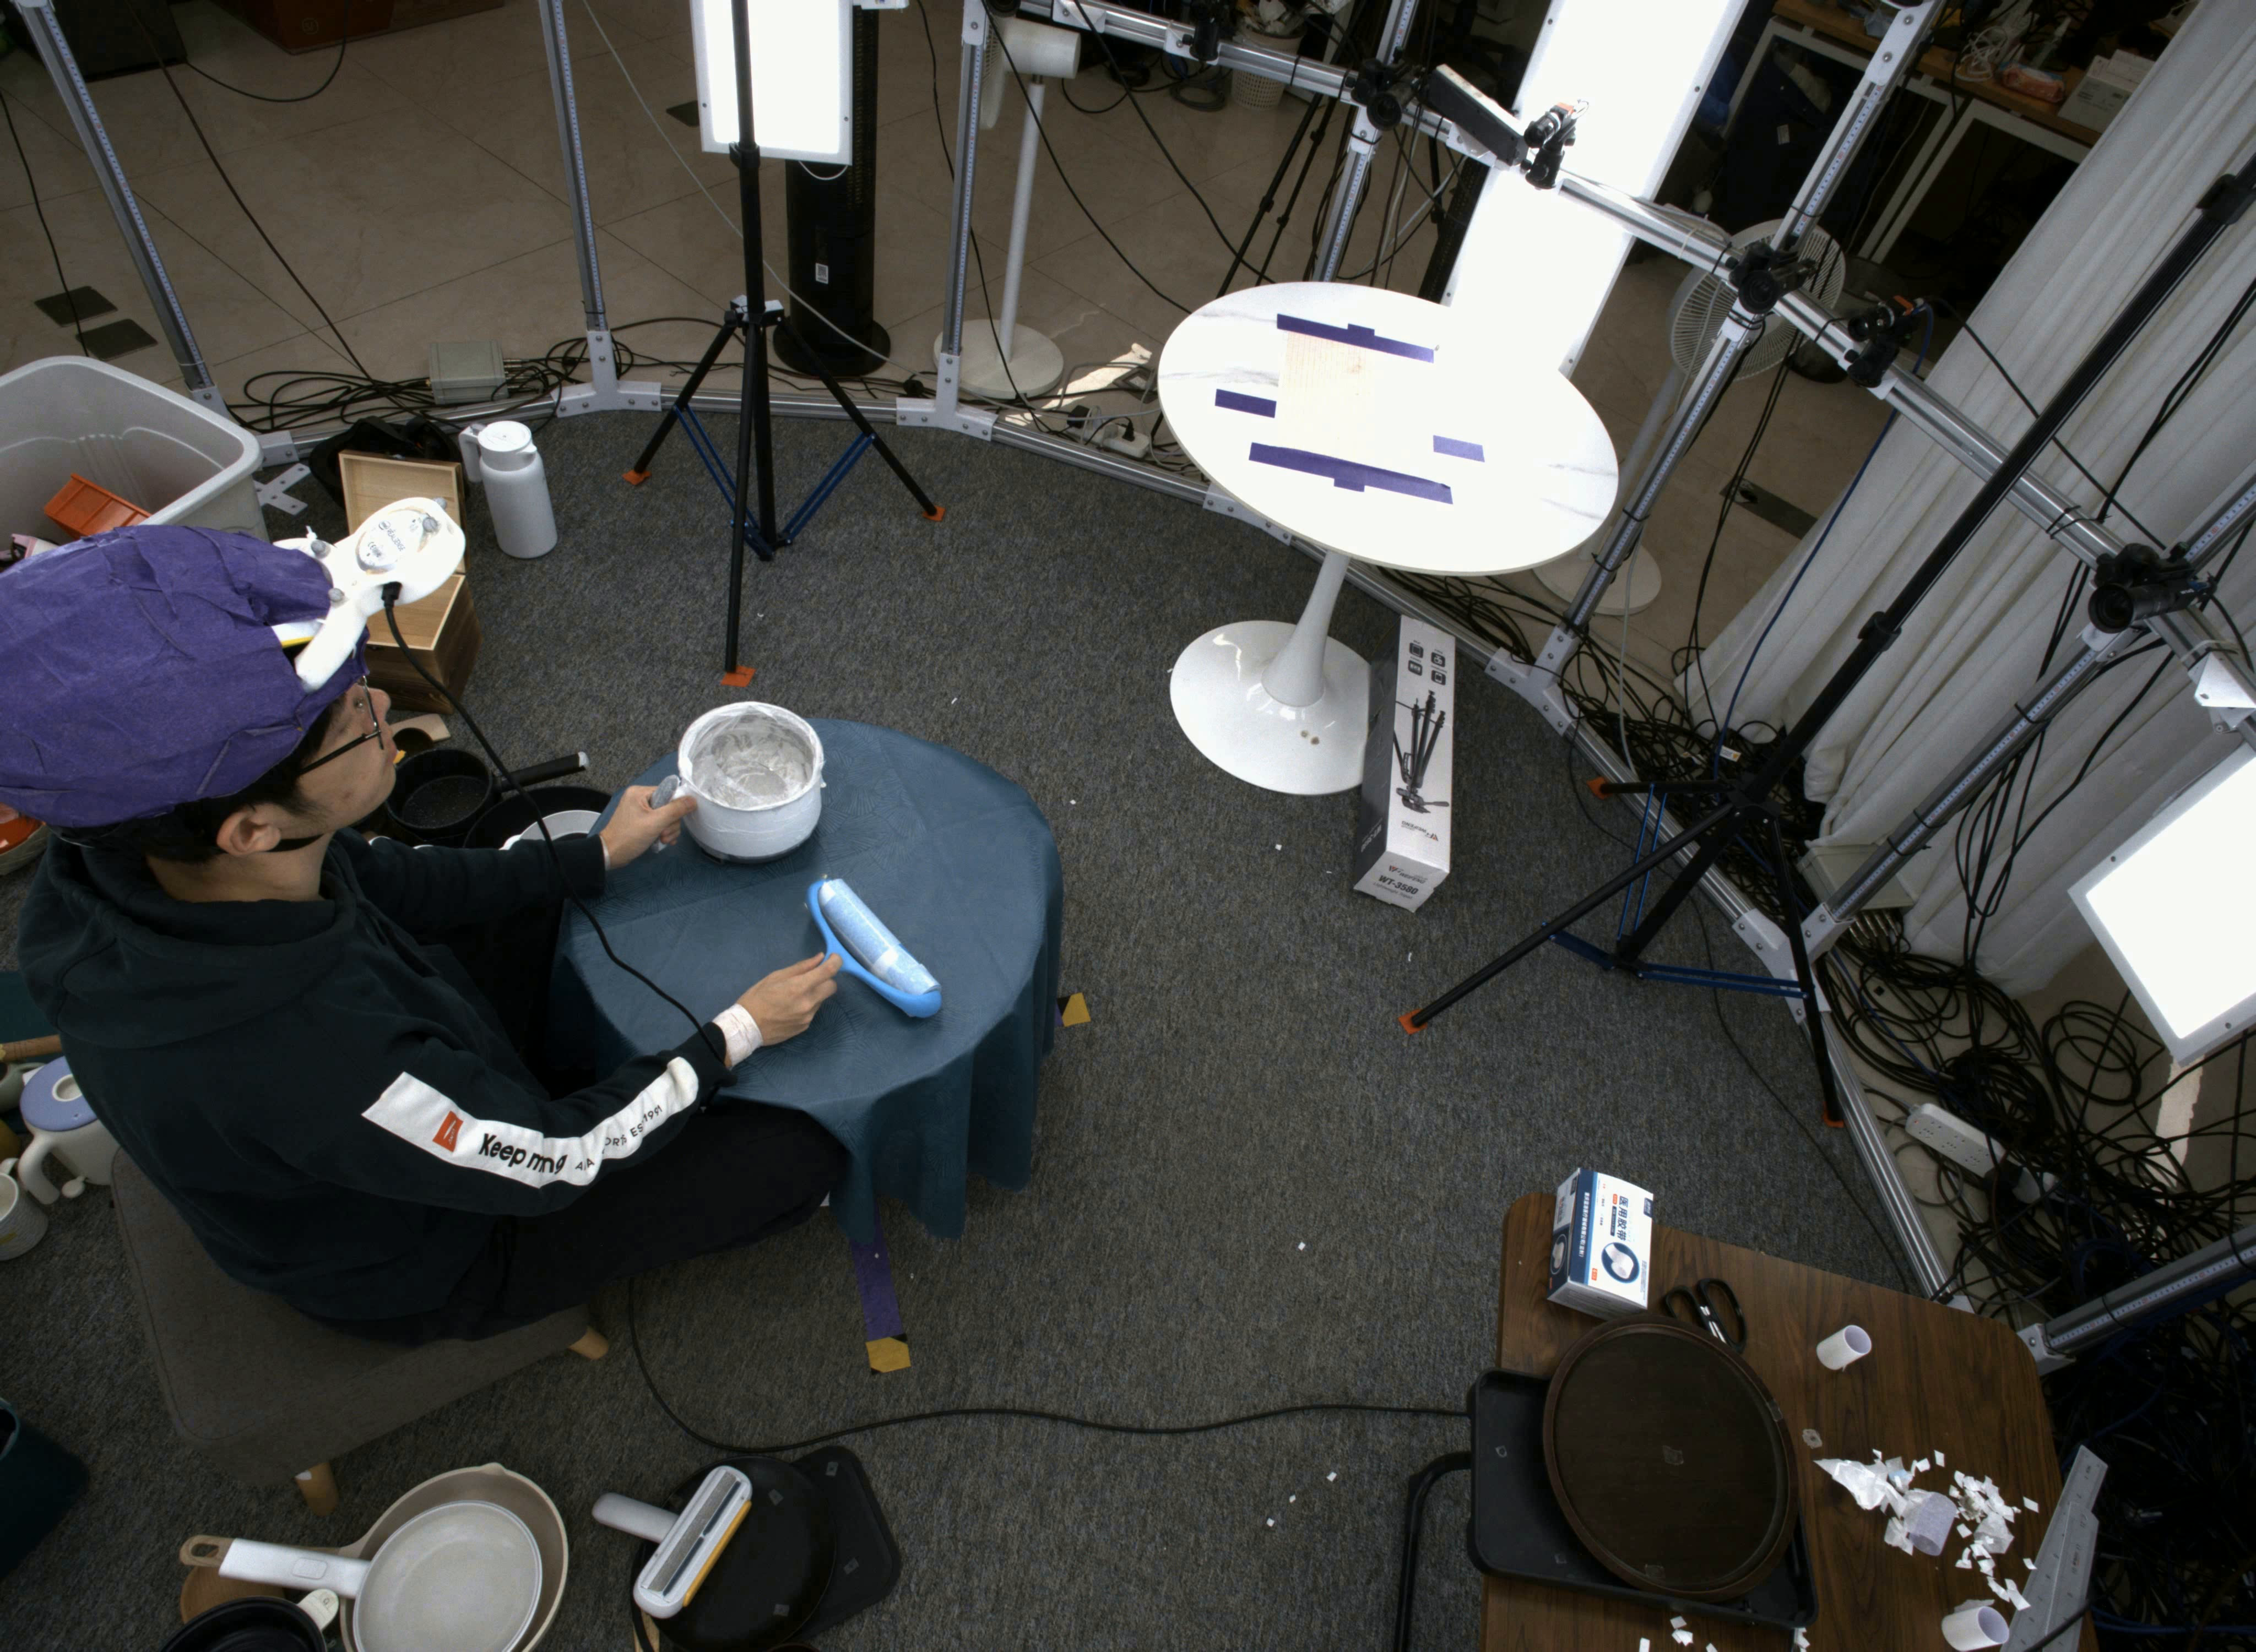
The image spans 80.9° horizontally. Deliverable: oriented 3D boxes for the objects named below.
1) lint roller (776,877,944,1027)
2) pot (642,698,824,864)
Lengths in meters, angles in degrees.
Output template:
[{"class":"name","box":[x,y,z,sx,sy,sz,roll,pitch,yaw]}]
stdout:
[{"class":"lint roller","box":[-0.349,0.174,1.574,0.226,0.069,0.180,42,52,10]},{"class":"pot","box":[-0.506,-0.045,1.645,0.235,0.139,0.174,-23,63,-31]}]
